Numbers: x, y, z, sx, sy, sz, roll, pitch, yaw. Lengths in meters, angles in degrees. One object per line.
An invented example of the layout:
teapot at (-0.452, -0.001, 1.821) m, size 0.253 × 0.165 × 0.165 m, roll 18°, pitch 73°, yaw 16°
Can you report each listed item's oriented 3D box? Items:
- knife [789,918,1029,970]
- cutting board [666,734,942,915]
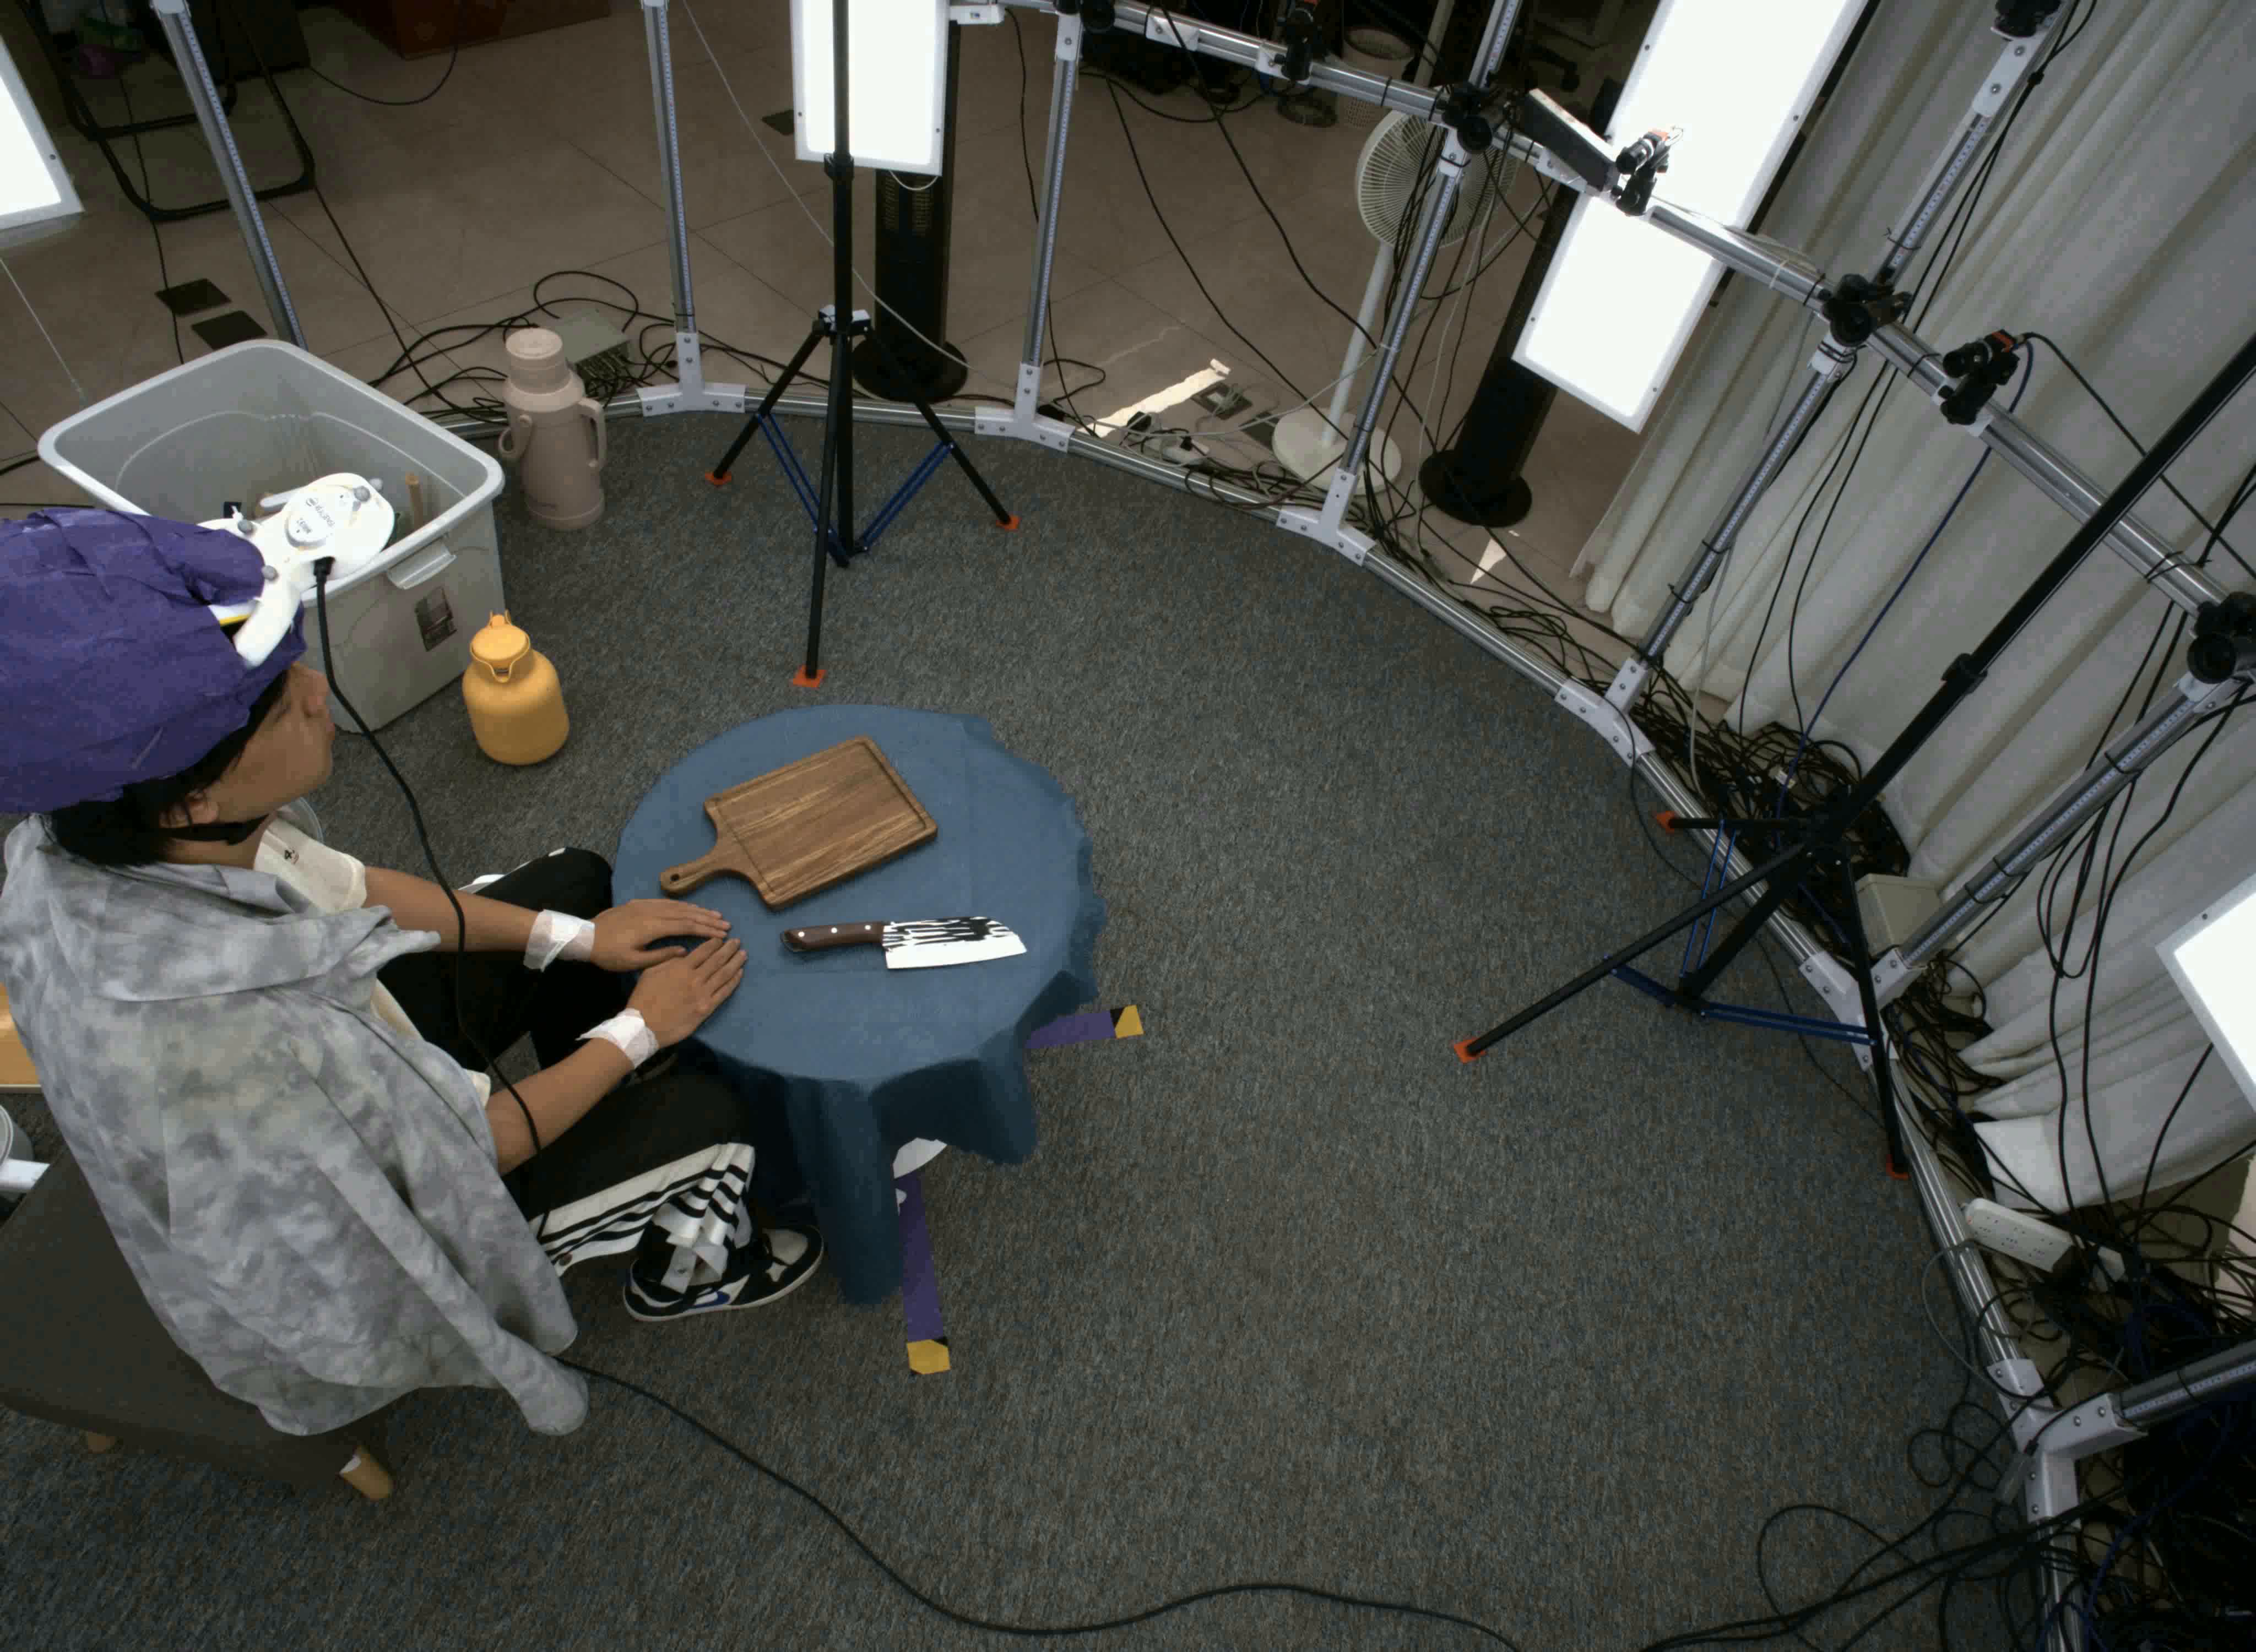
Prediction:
knife at (-0.273, 0.148, 1.641) m, size 0.301 × 0.024 × 0.067 m, roll -2°, pitch 57°, yaw -18°
cutting board at (-0.441, 0.010, 1.701) m, size 0.353 × 0.023 × 0.196 m, roll -27°, pitch 64°, yaw -29°
